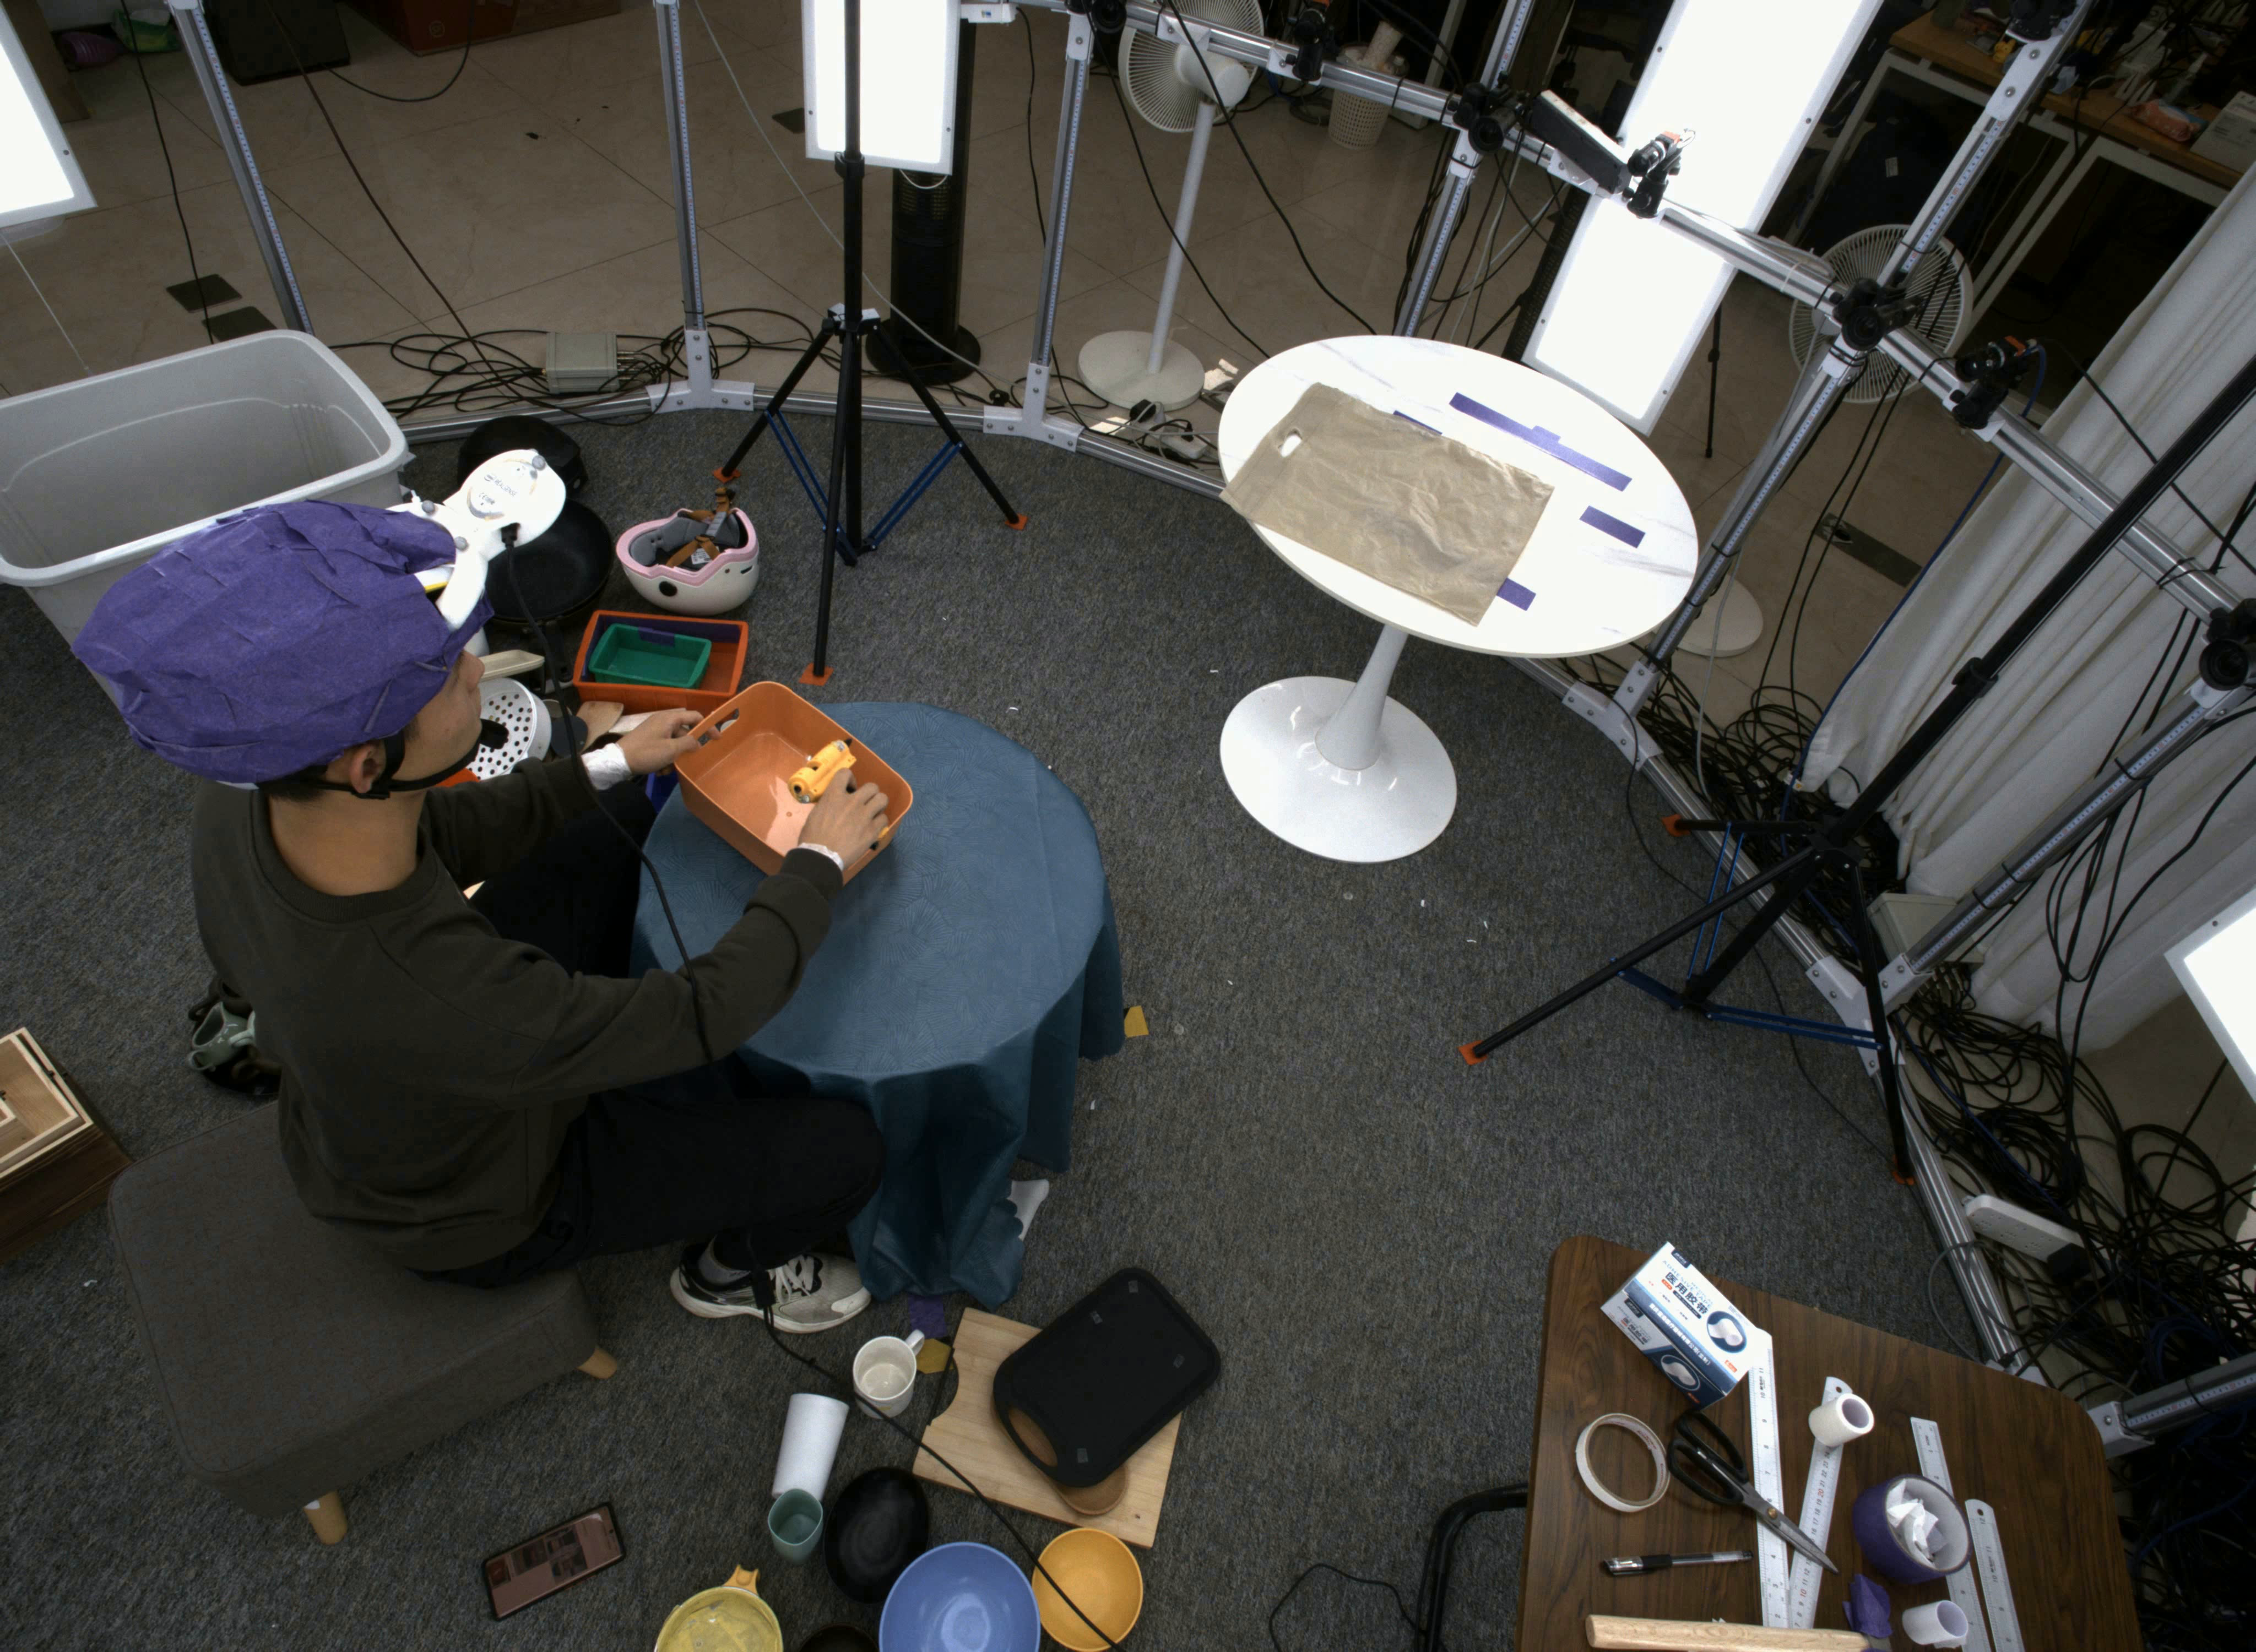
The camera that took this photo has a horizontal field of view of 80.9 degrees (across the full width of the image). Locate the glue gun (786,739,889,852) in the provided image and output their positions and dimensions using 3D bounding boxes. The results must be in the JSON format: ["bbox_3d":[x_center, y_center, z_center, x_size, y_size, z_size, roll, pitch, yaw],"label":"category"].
[{"bbox_3d":[-0.336,-0.048,1.591,0.135,0.031,0.149,40,30,-14],"label":"glue gun"}]

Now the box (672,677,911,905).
[{"bbox_3d":[-0.434,-0.039,1.661,0.271,0.103,0.199,38,55,3],"label":"box"}]
